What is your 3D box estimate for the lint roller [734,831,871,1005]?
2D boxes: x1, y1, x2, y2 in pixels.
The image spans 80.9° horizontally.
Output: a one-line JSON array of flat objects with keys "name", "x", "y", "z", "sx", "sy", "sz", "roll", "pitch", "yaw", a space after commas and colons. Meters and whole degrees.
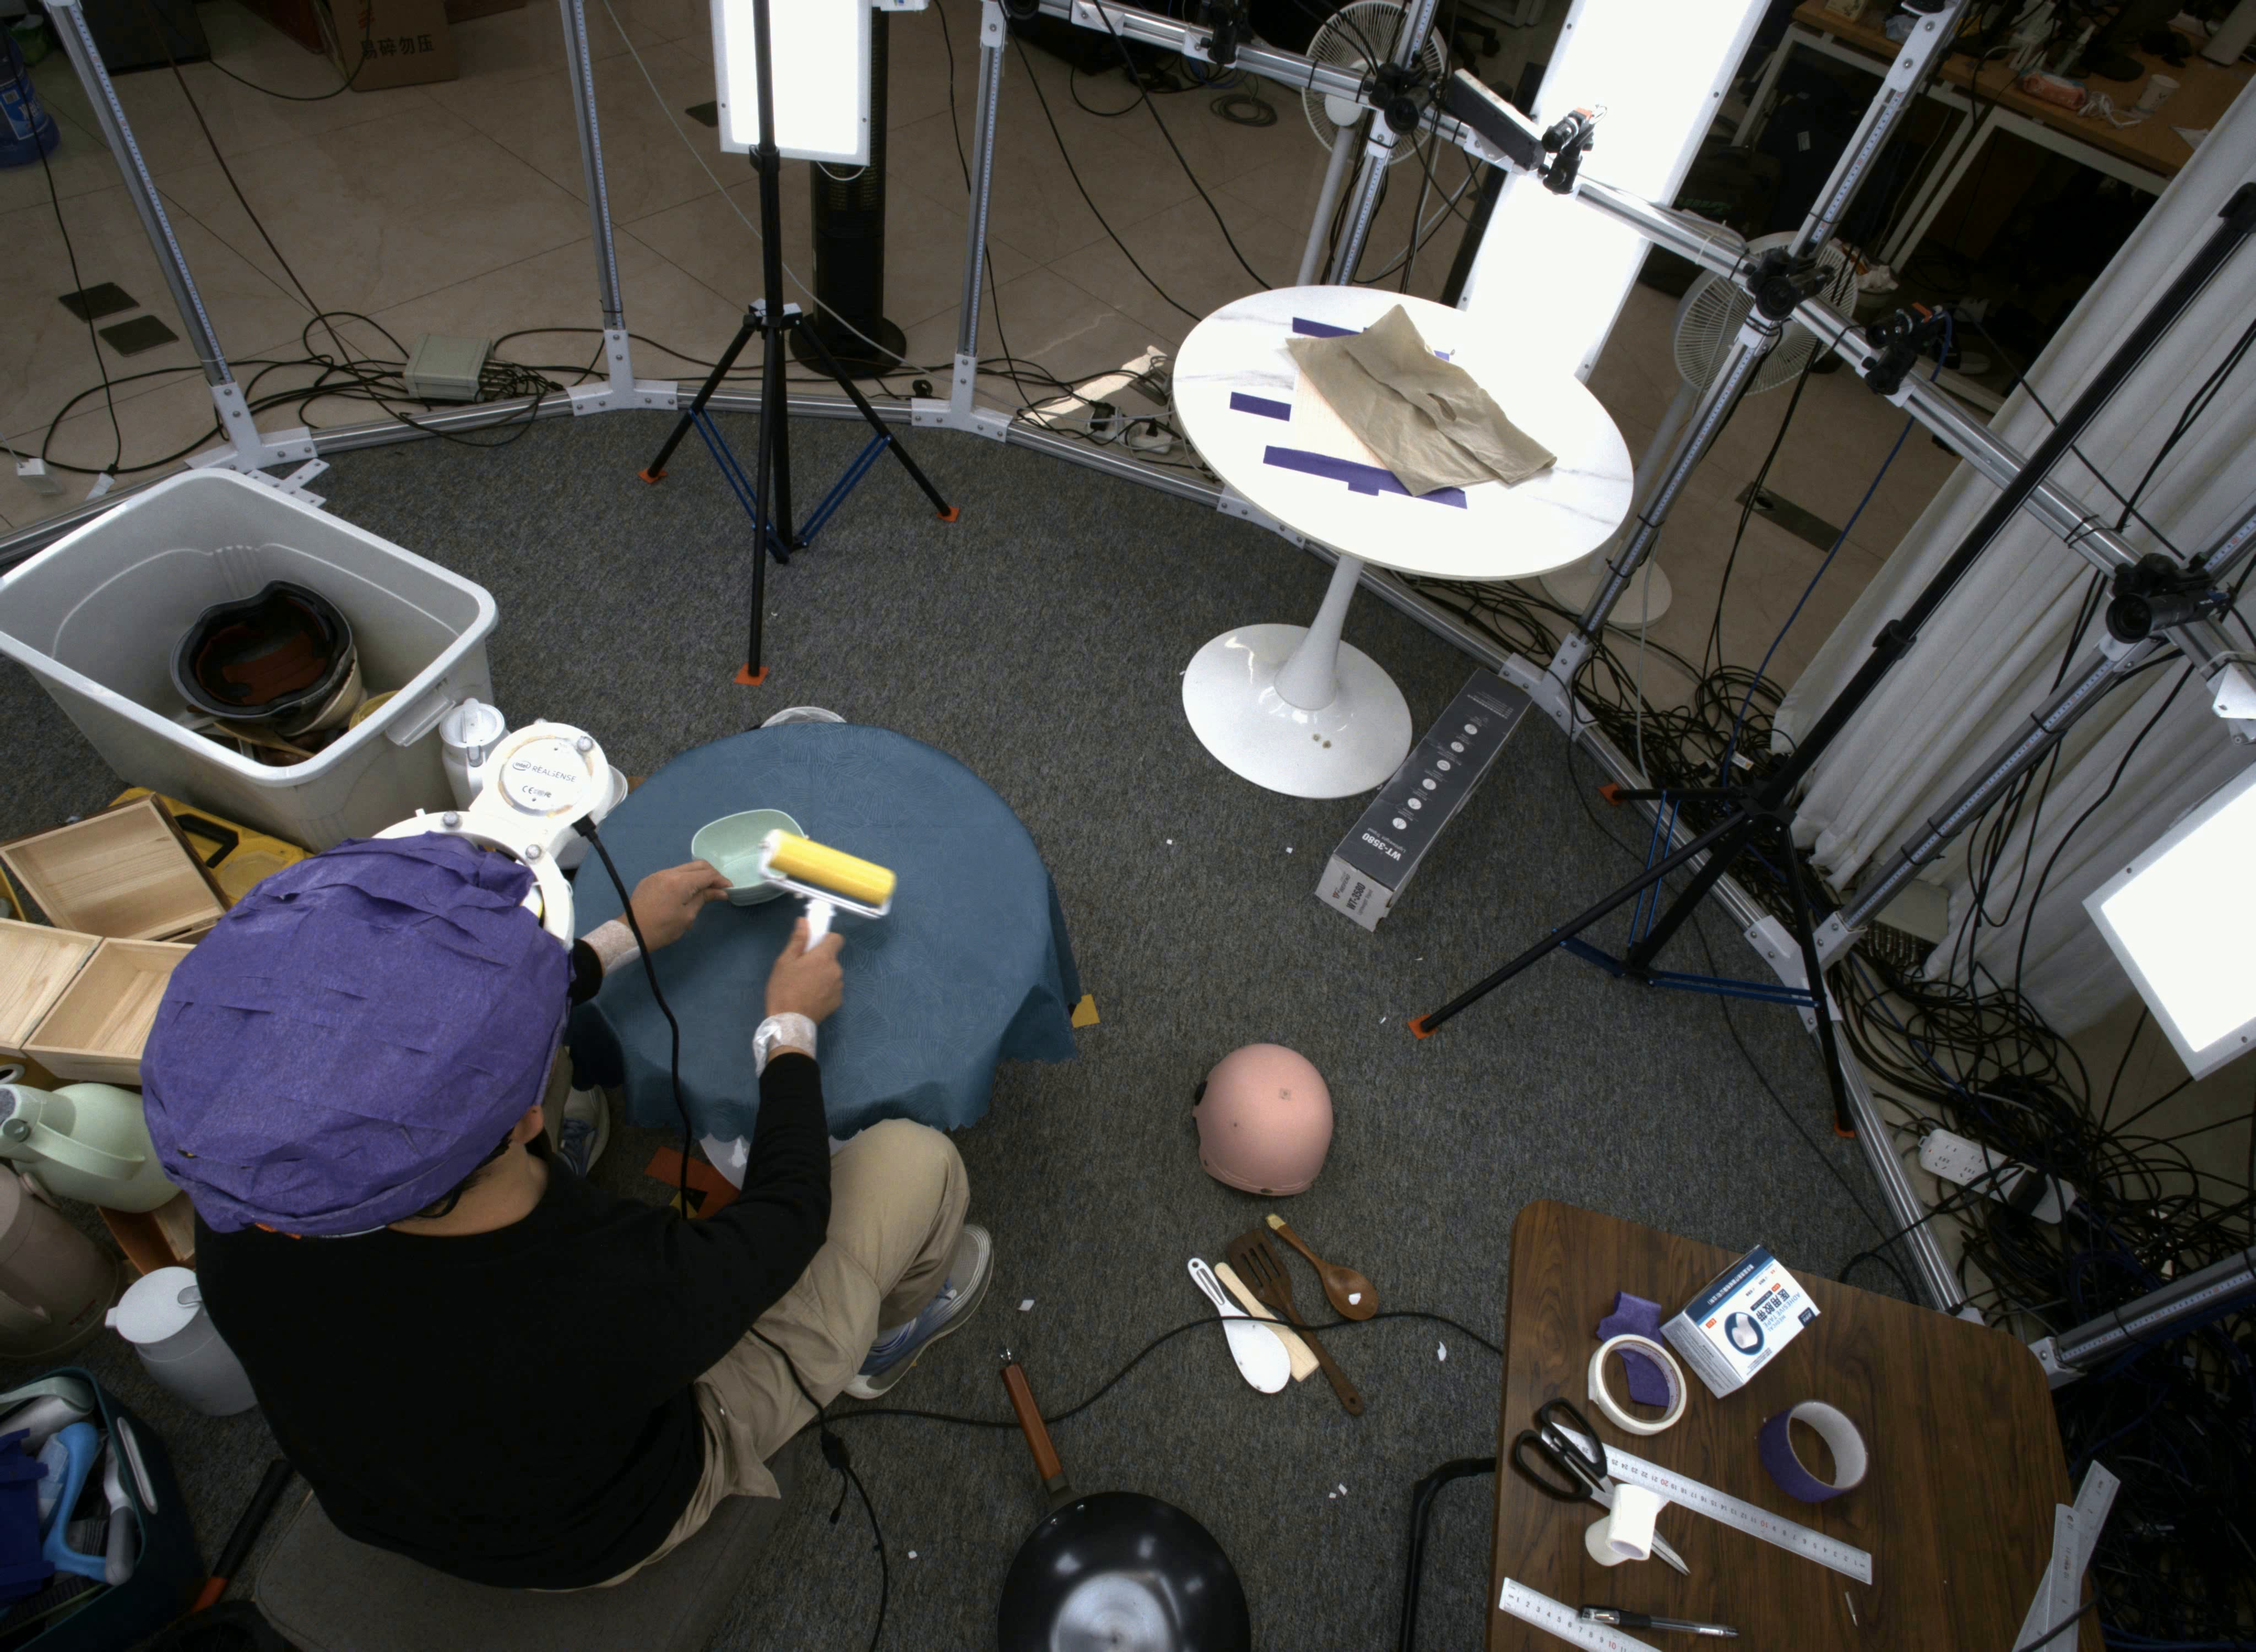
[{"name": "lint roller", "x": -0.383, "y": 0.112, "z": 1.536, "sx": 0.179, "sy": 0.051, "sz": 0.189, "roll": 20, "pitch": 52, "yaw": -42}]

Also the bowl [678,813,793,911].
[{"name": "bowl", "x": -0.486, "y": 0.051, "z": 1.618, "sx": 0.150, "sy": 0.060, "sz": 0.148, "roll": 4, "pitch": 41, "yaw": -2}]
